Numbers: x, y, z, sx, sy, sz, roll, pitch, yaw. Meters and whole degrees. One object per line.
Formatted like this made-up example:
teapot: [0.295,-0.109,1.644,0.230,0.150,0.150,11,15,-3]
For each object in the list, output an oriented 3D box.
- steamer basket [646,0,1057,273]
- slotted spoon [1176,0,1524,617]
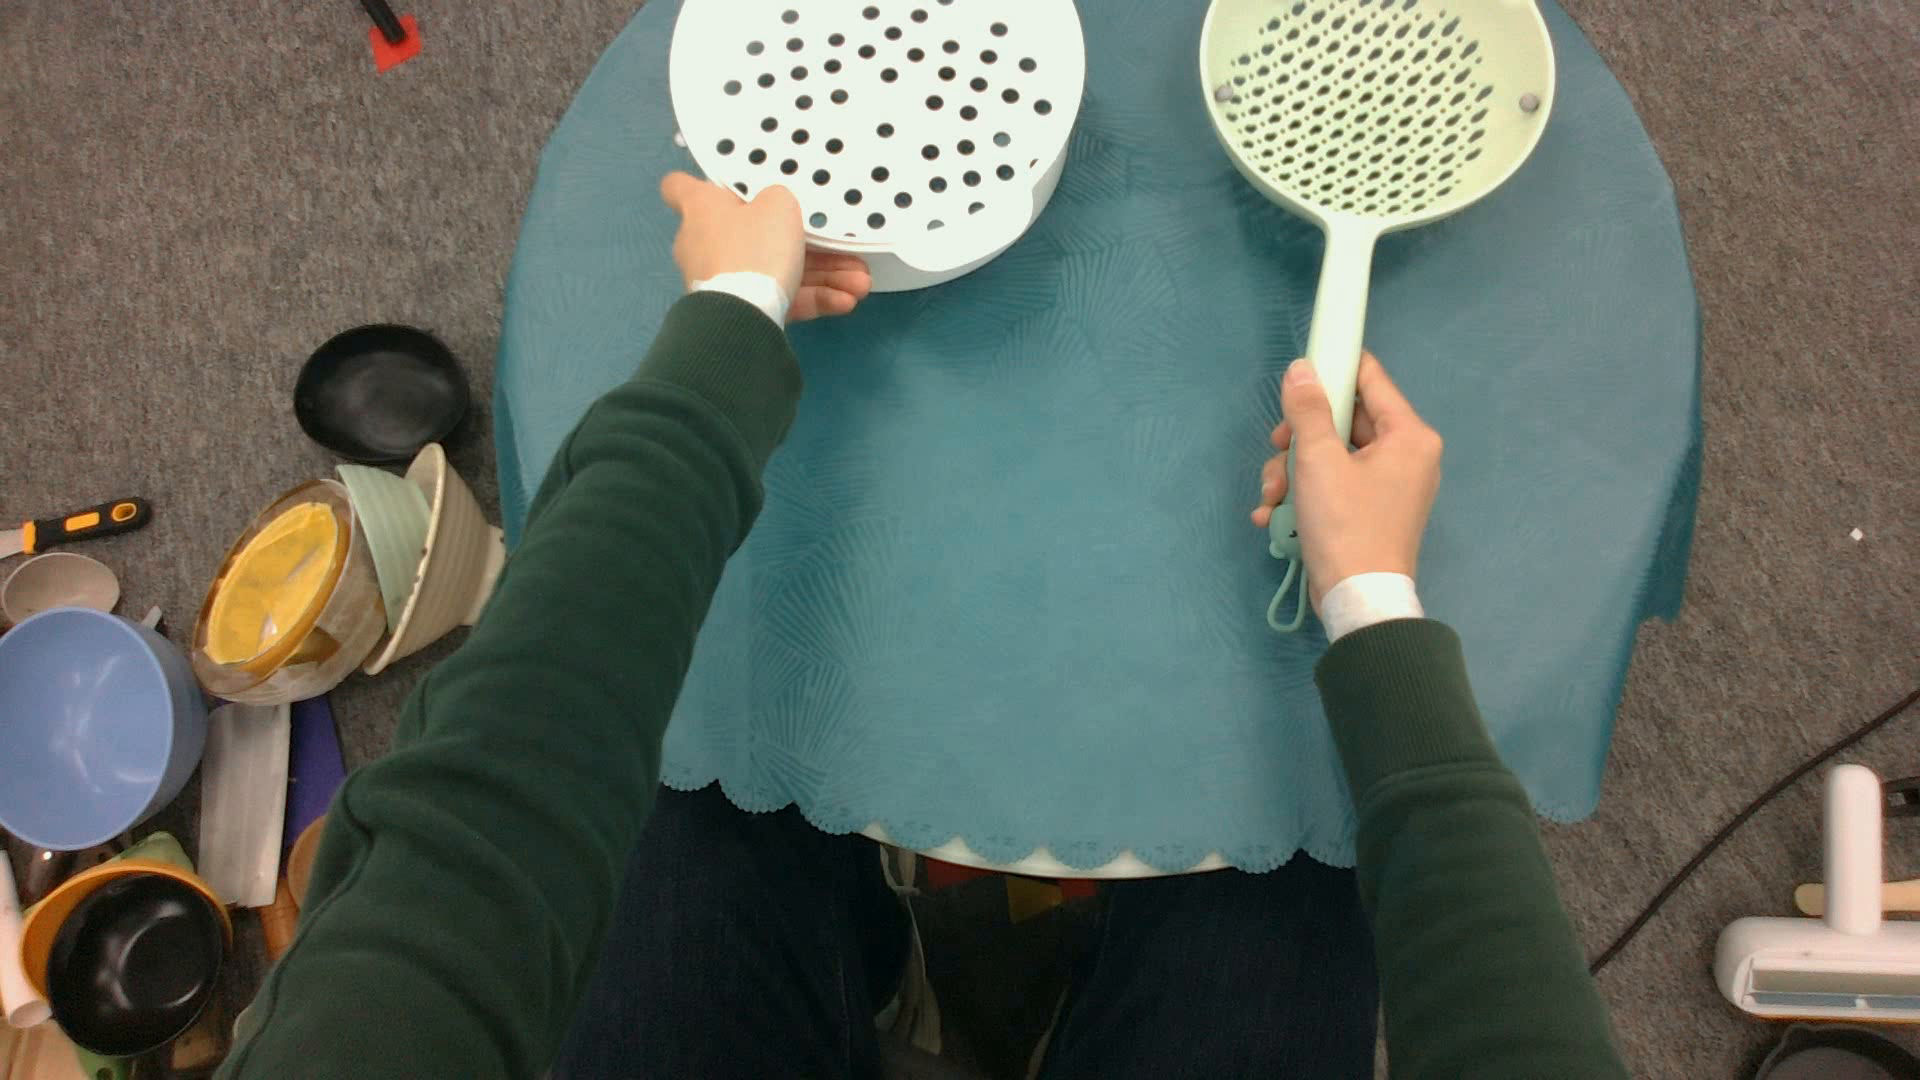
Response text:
steamer basket: [-0.053,-0.233,0.700,0.202,0.069,0.231,-27,75,-7]
slotted spoon: [0.172,-0.141,0.656,0.169,0.075,0.360,10,67,5]
